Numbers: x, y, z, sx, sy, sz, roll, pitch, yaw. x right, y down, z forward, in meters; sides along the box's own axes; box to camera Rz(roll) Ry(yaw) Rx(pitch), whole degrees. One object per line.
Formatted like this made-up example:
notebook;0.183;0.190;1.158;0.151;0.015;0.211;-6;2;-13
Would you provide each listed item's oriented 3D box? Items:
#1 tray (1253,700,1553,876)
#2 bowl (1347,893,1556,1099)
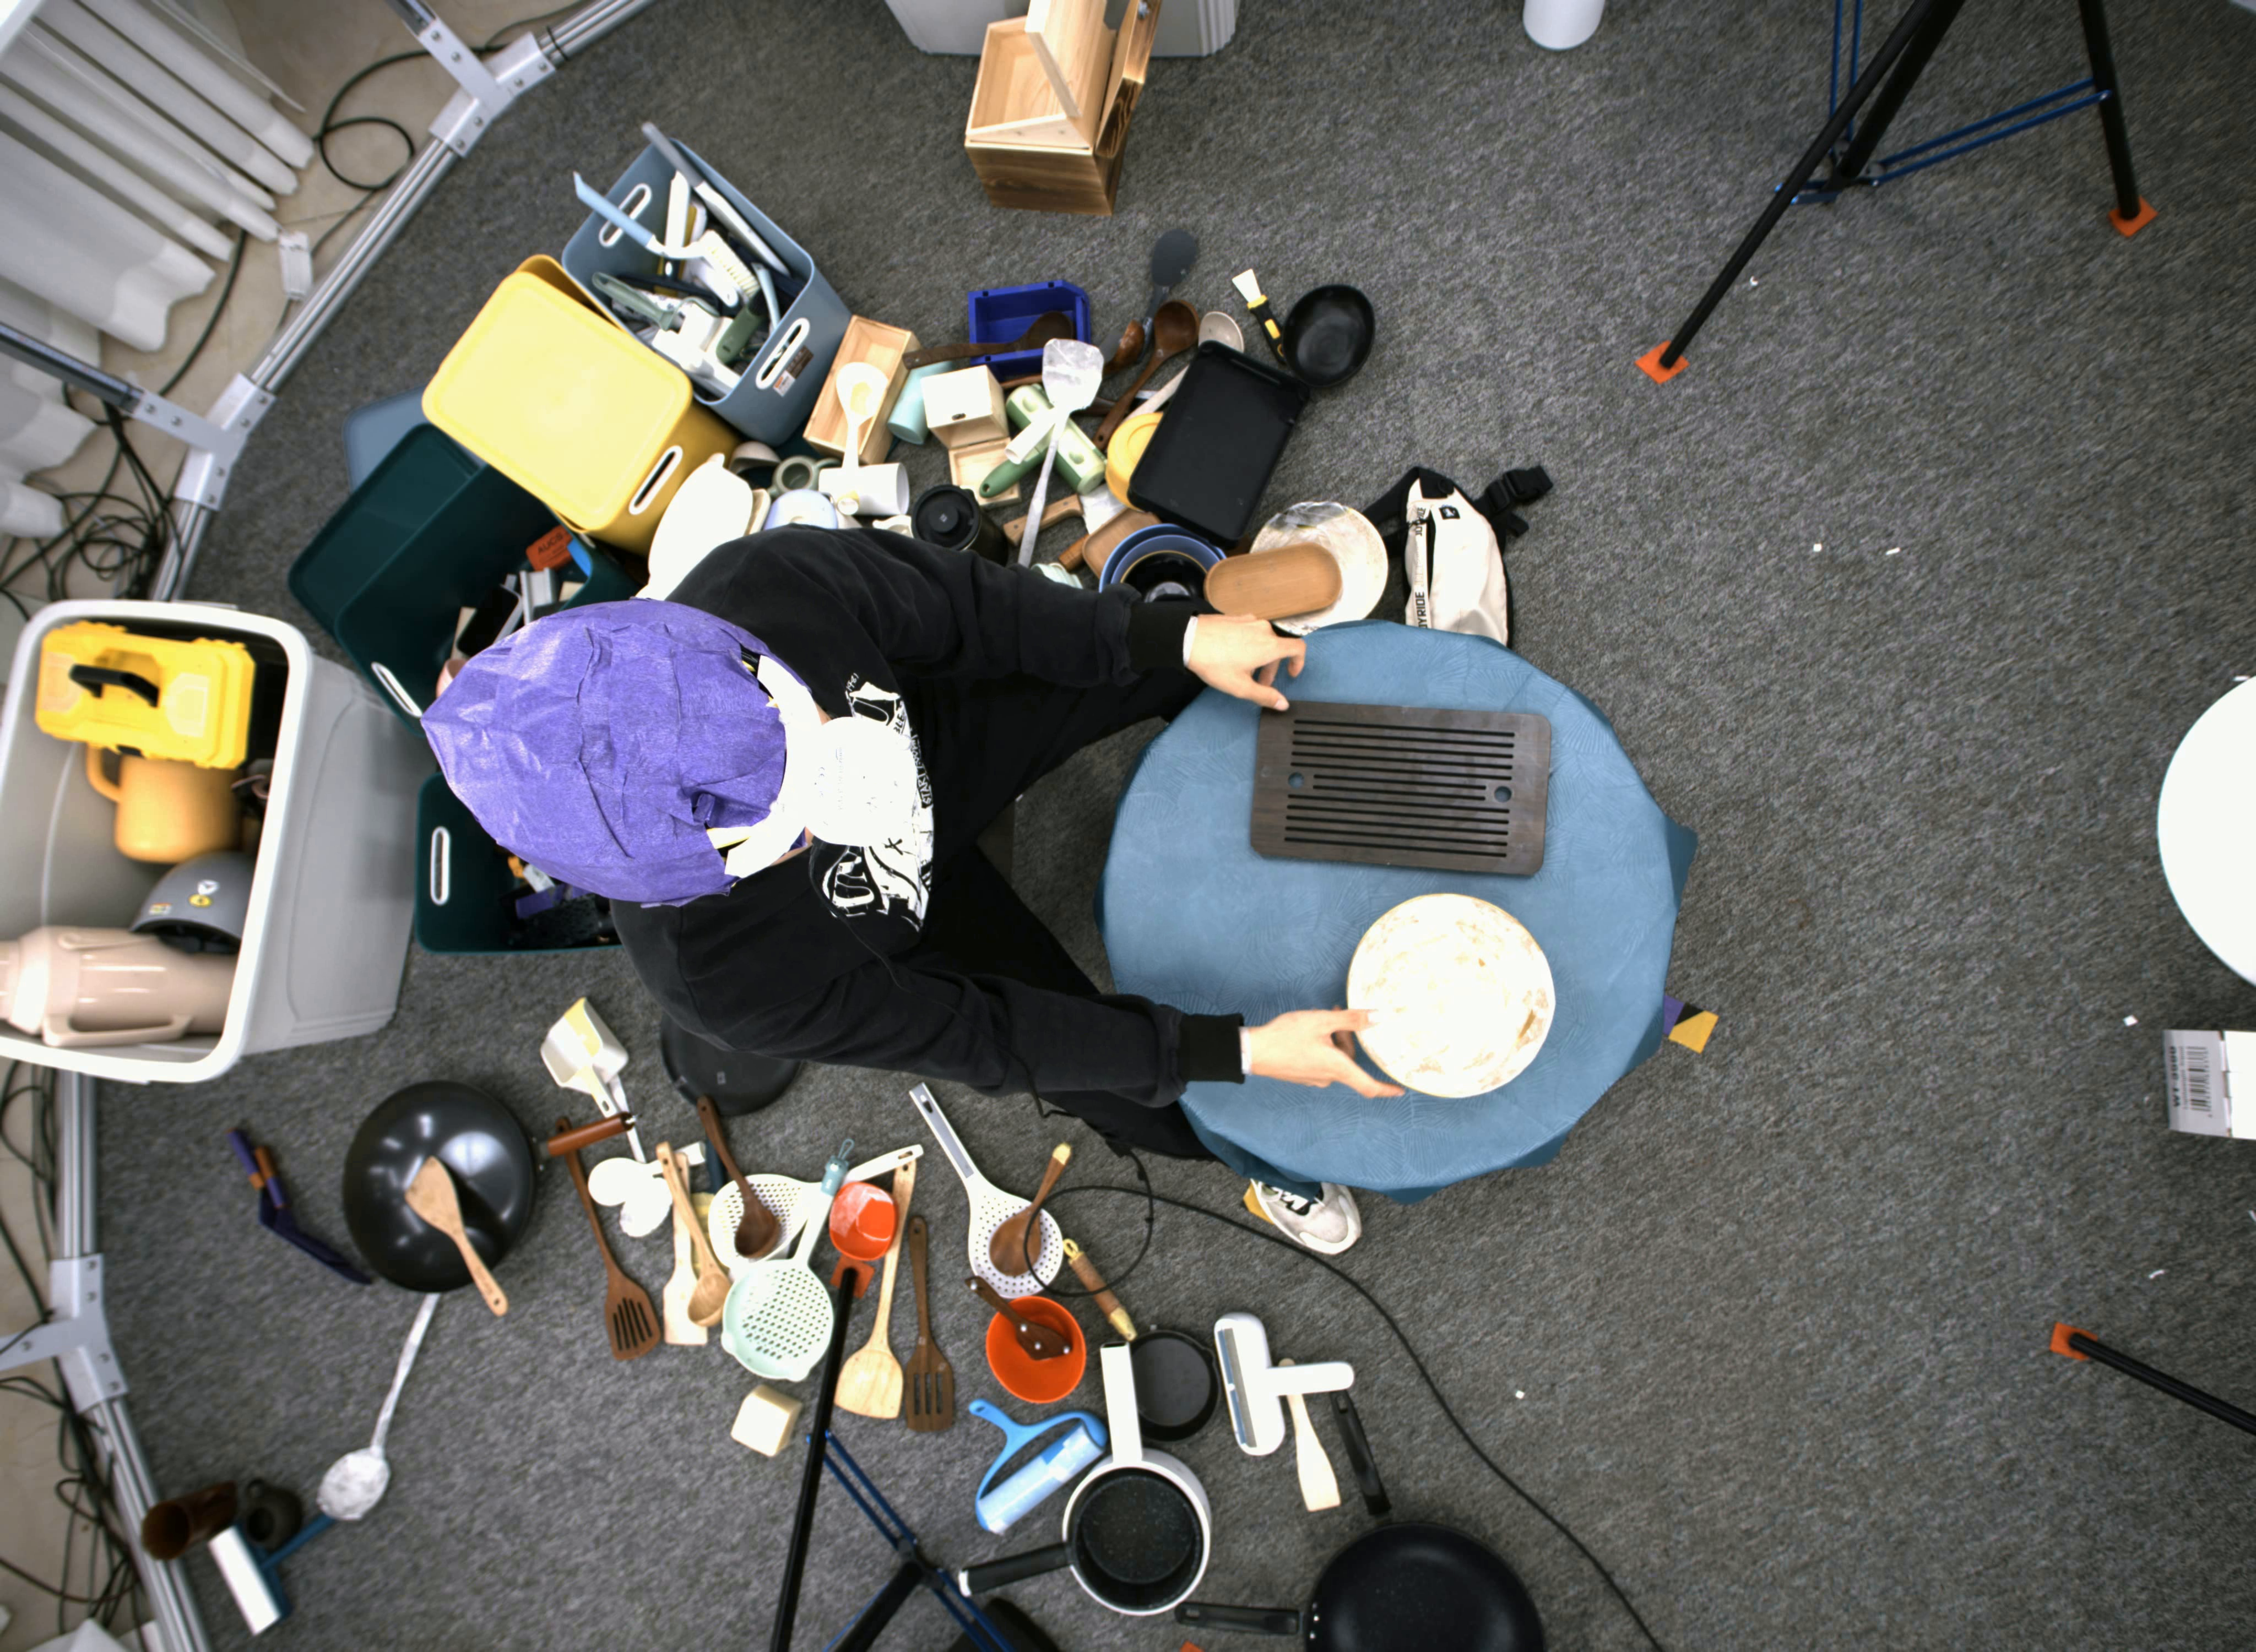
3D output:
tray;0.290;-0.043;1.460;0.307;0.018;0.169;4;87;11
bowl;0.323;0.167;1.402;0.215;0.094;0.214;-1;87;11
